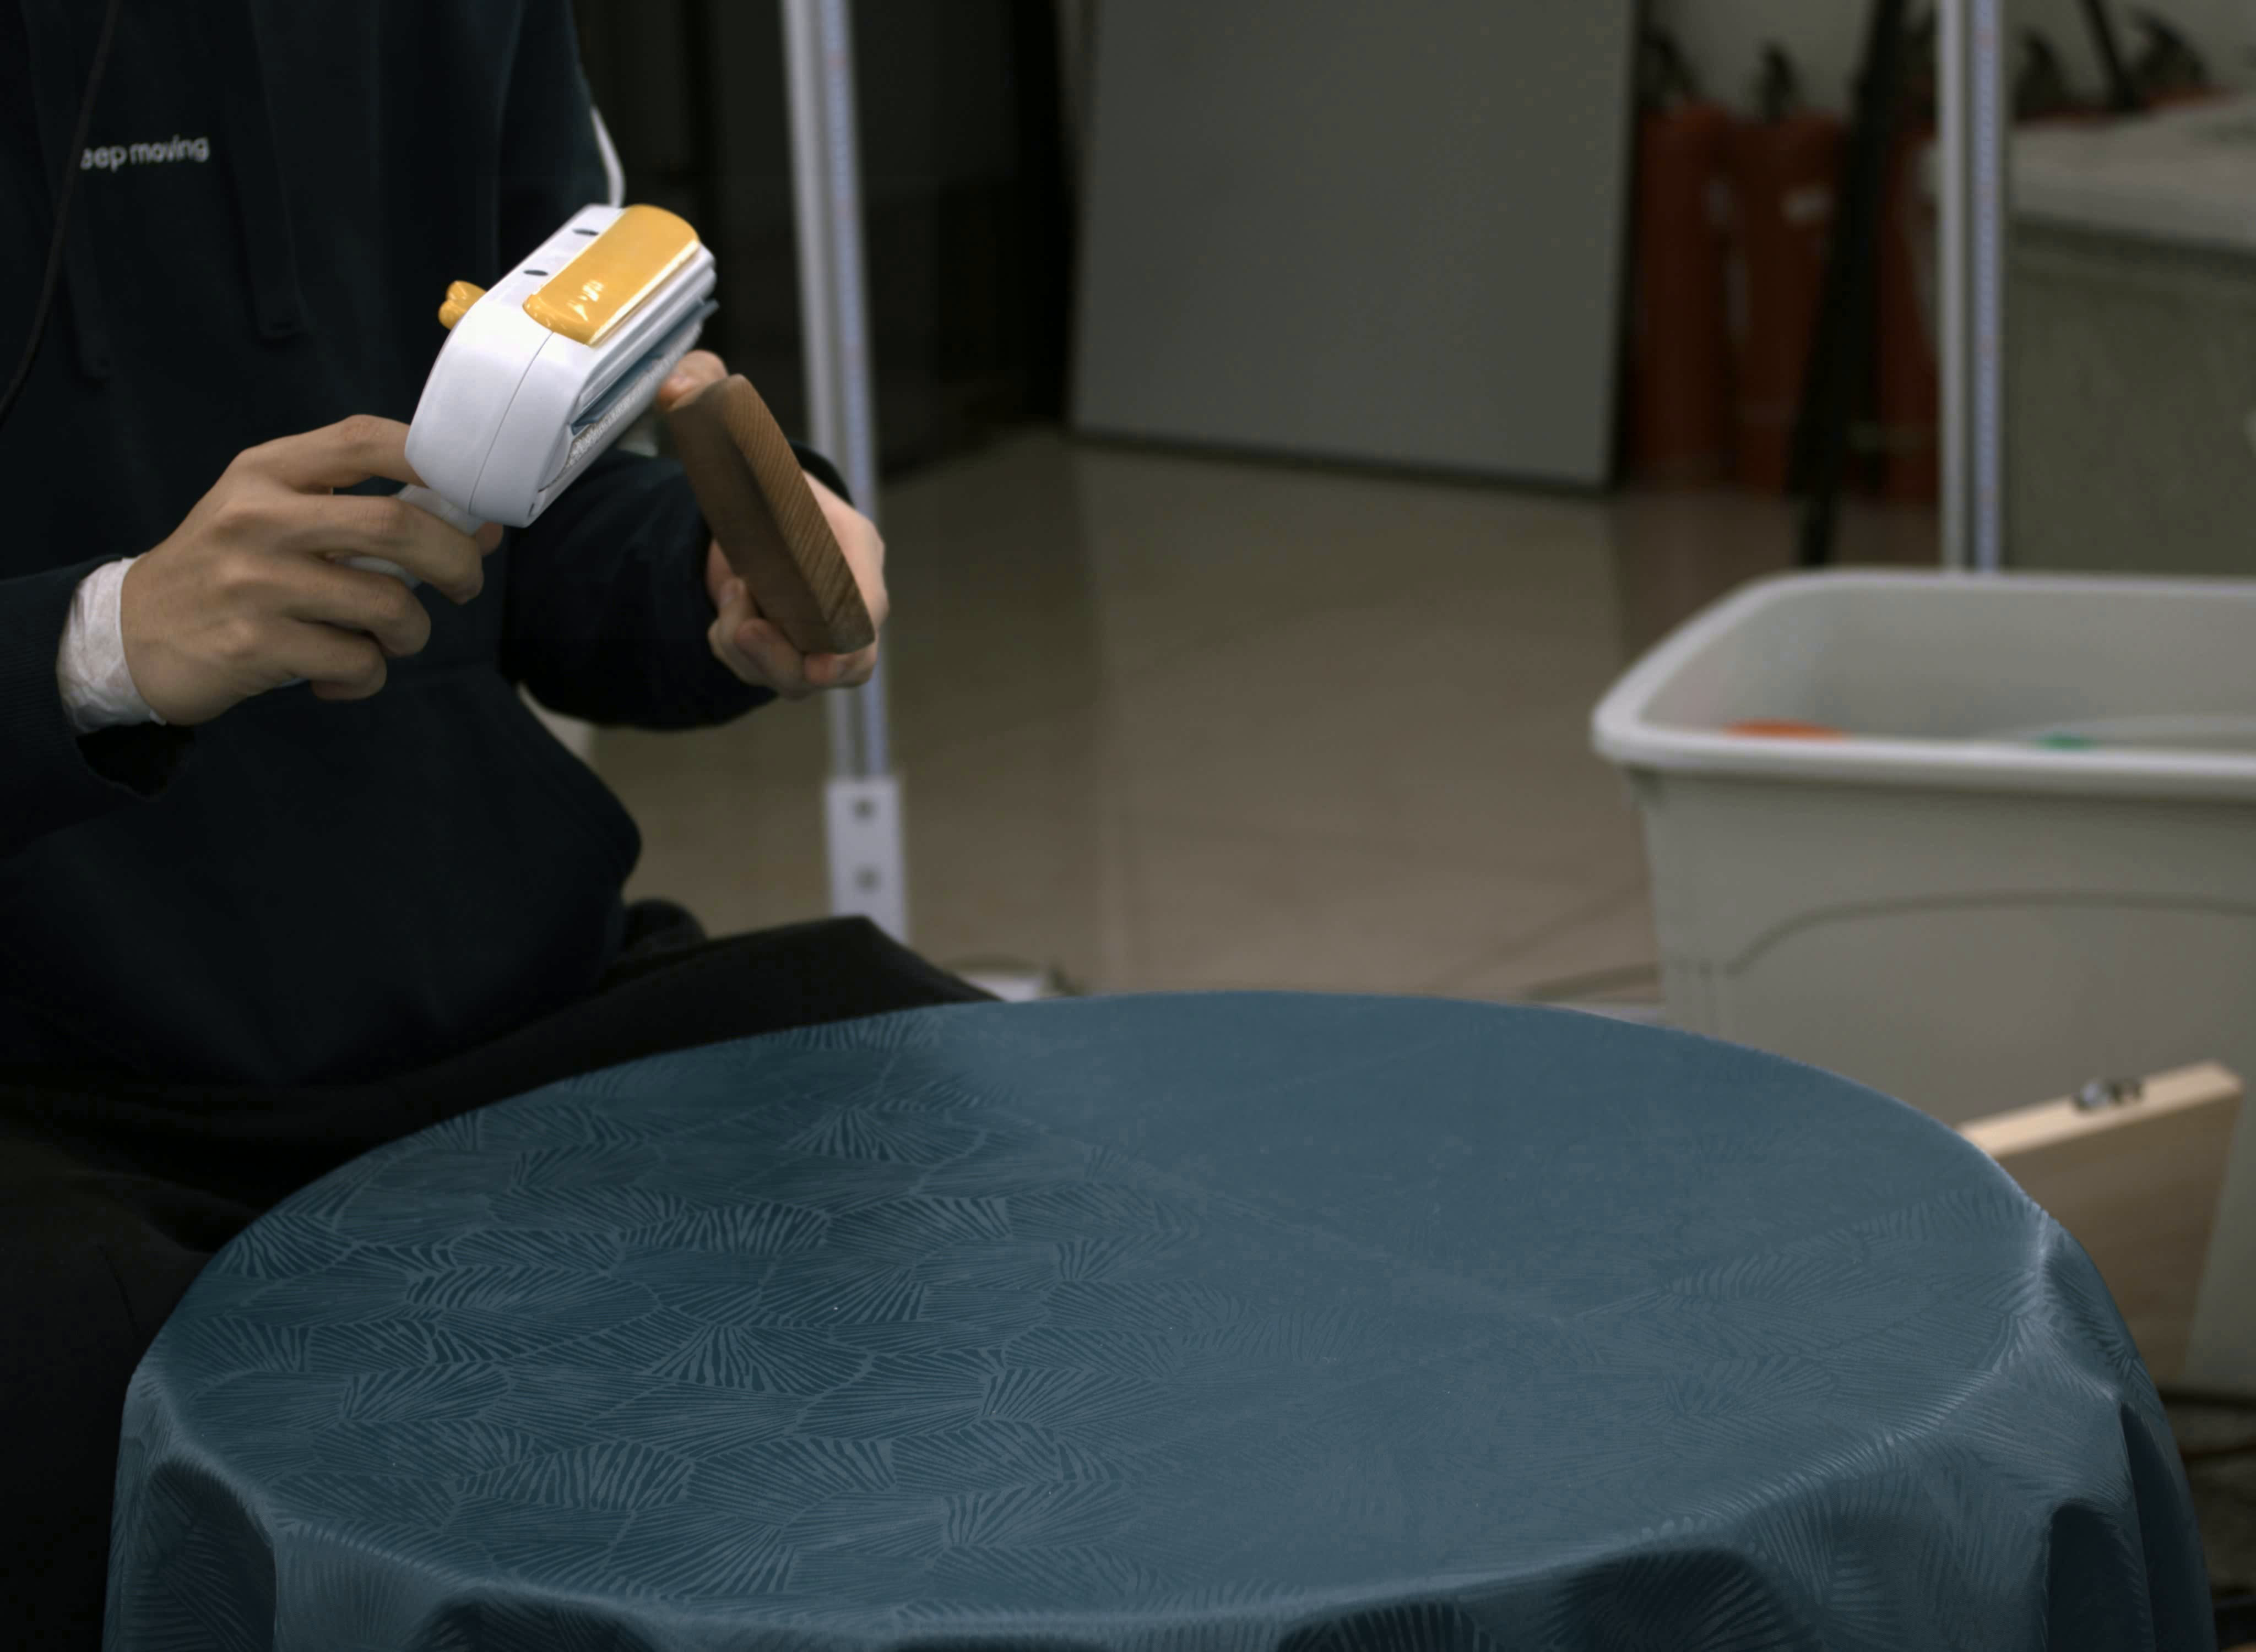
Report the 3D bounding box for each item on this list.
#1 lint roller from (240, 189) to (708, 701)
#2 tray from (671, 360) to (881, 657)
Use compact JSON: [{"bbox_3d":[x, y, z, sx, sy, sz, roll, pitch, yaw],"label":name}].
[{"bbox_3d":[-0.213,-0.110,1.734,0.073,0.194,0.192,32,17,-5],"label":"lint roller"},{"bbox_3d":[-0.122,-0.105,1.842,0.020,0.102,0.232,-26,6,-8],"label":"tray"}]
